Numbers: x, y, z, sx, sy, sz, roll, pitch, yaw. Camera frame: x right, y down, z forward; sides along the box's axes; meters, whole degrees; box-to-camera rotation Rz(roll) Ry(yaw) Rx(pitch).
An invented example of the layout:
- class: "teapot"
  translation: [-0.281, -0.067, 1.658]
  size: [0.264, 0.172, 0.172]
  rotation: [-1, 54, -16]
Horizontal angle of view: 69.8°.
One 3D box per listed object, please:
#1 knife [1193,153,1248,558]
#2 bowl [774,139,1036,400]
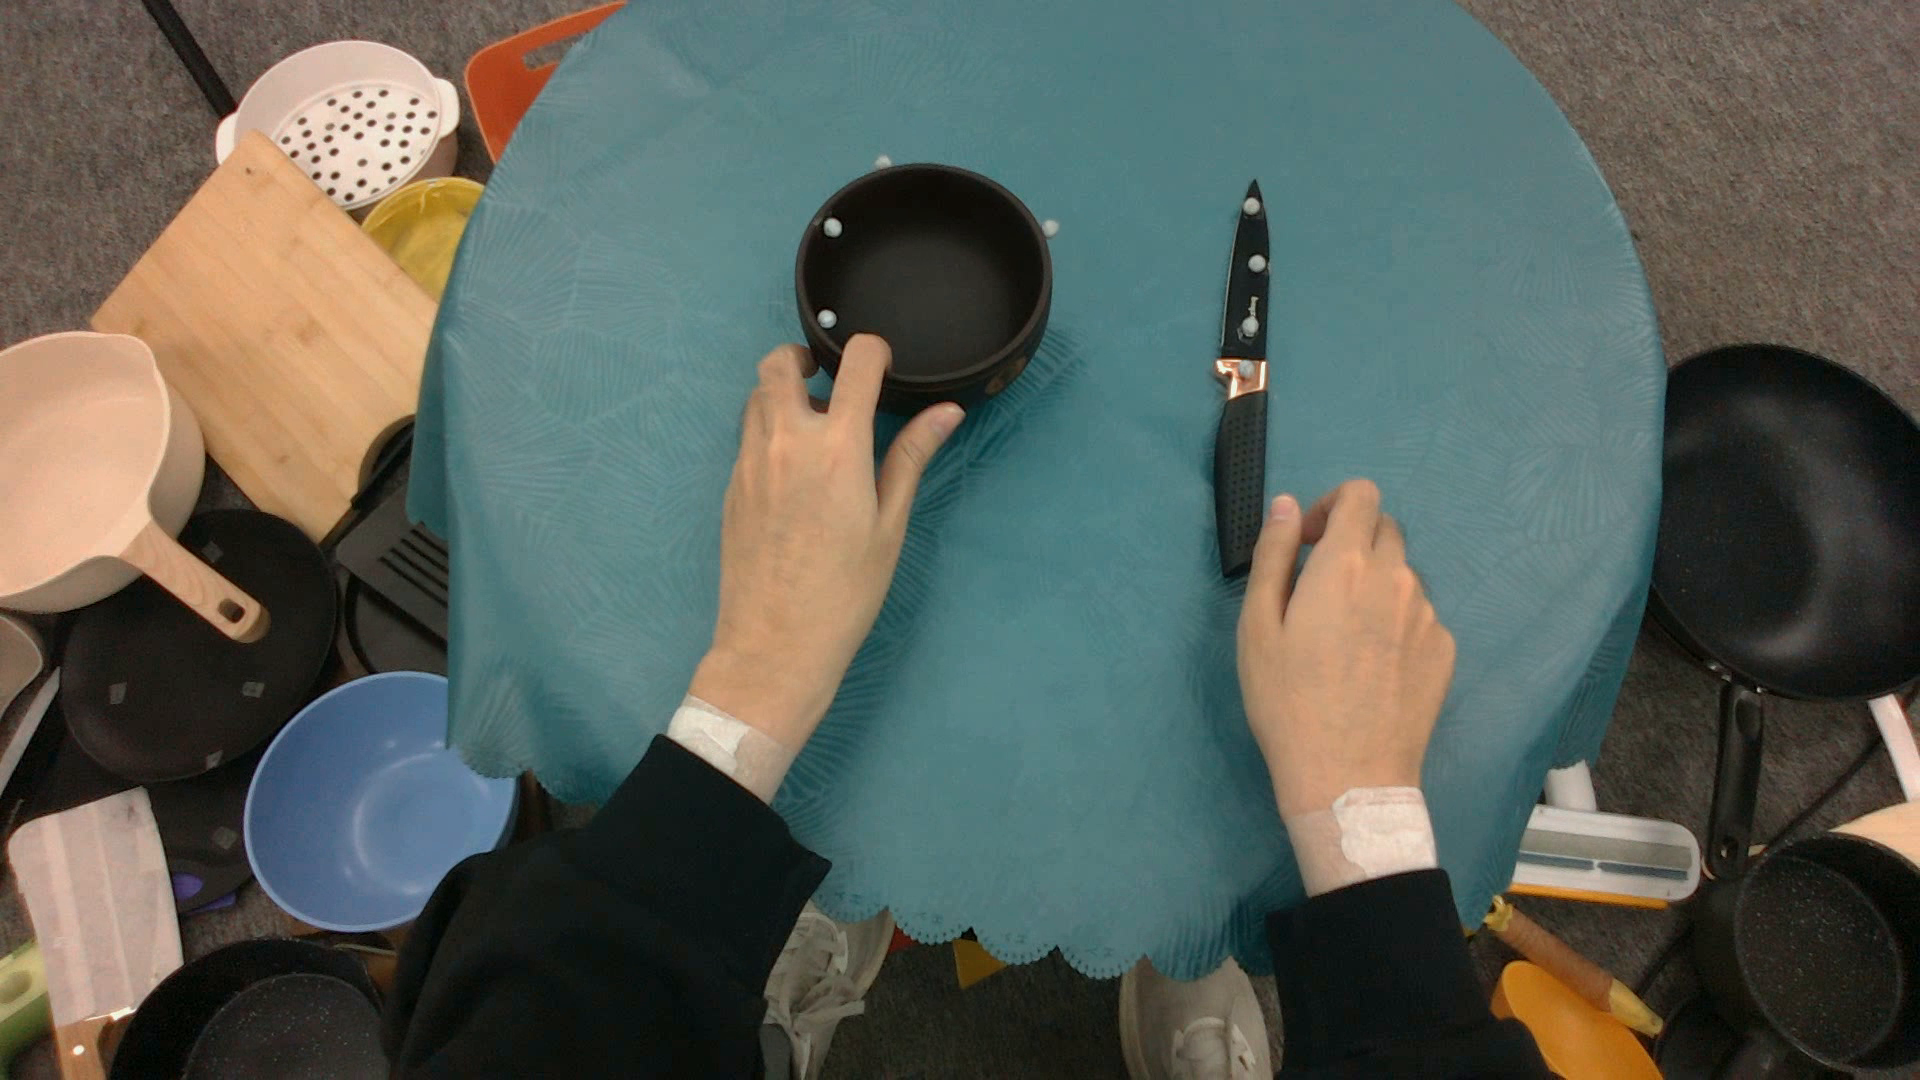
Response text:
- class: "knife"
  translation: [0.127, -0.097, 0.671]
  size: [0.026, 0.017, 0.226]
  rotation: [2, 67, 6]
- class: "bowl"
  translation: [-0.024, -0.118, 0.640]
  size: [0.118, 0.069, 0.118]
  rotation: [0, 72, -1]
